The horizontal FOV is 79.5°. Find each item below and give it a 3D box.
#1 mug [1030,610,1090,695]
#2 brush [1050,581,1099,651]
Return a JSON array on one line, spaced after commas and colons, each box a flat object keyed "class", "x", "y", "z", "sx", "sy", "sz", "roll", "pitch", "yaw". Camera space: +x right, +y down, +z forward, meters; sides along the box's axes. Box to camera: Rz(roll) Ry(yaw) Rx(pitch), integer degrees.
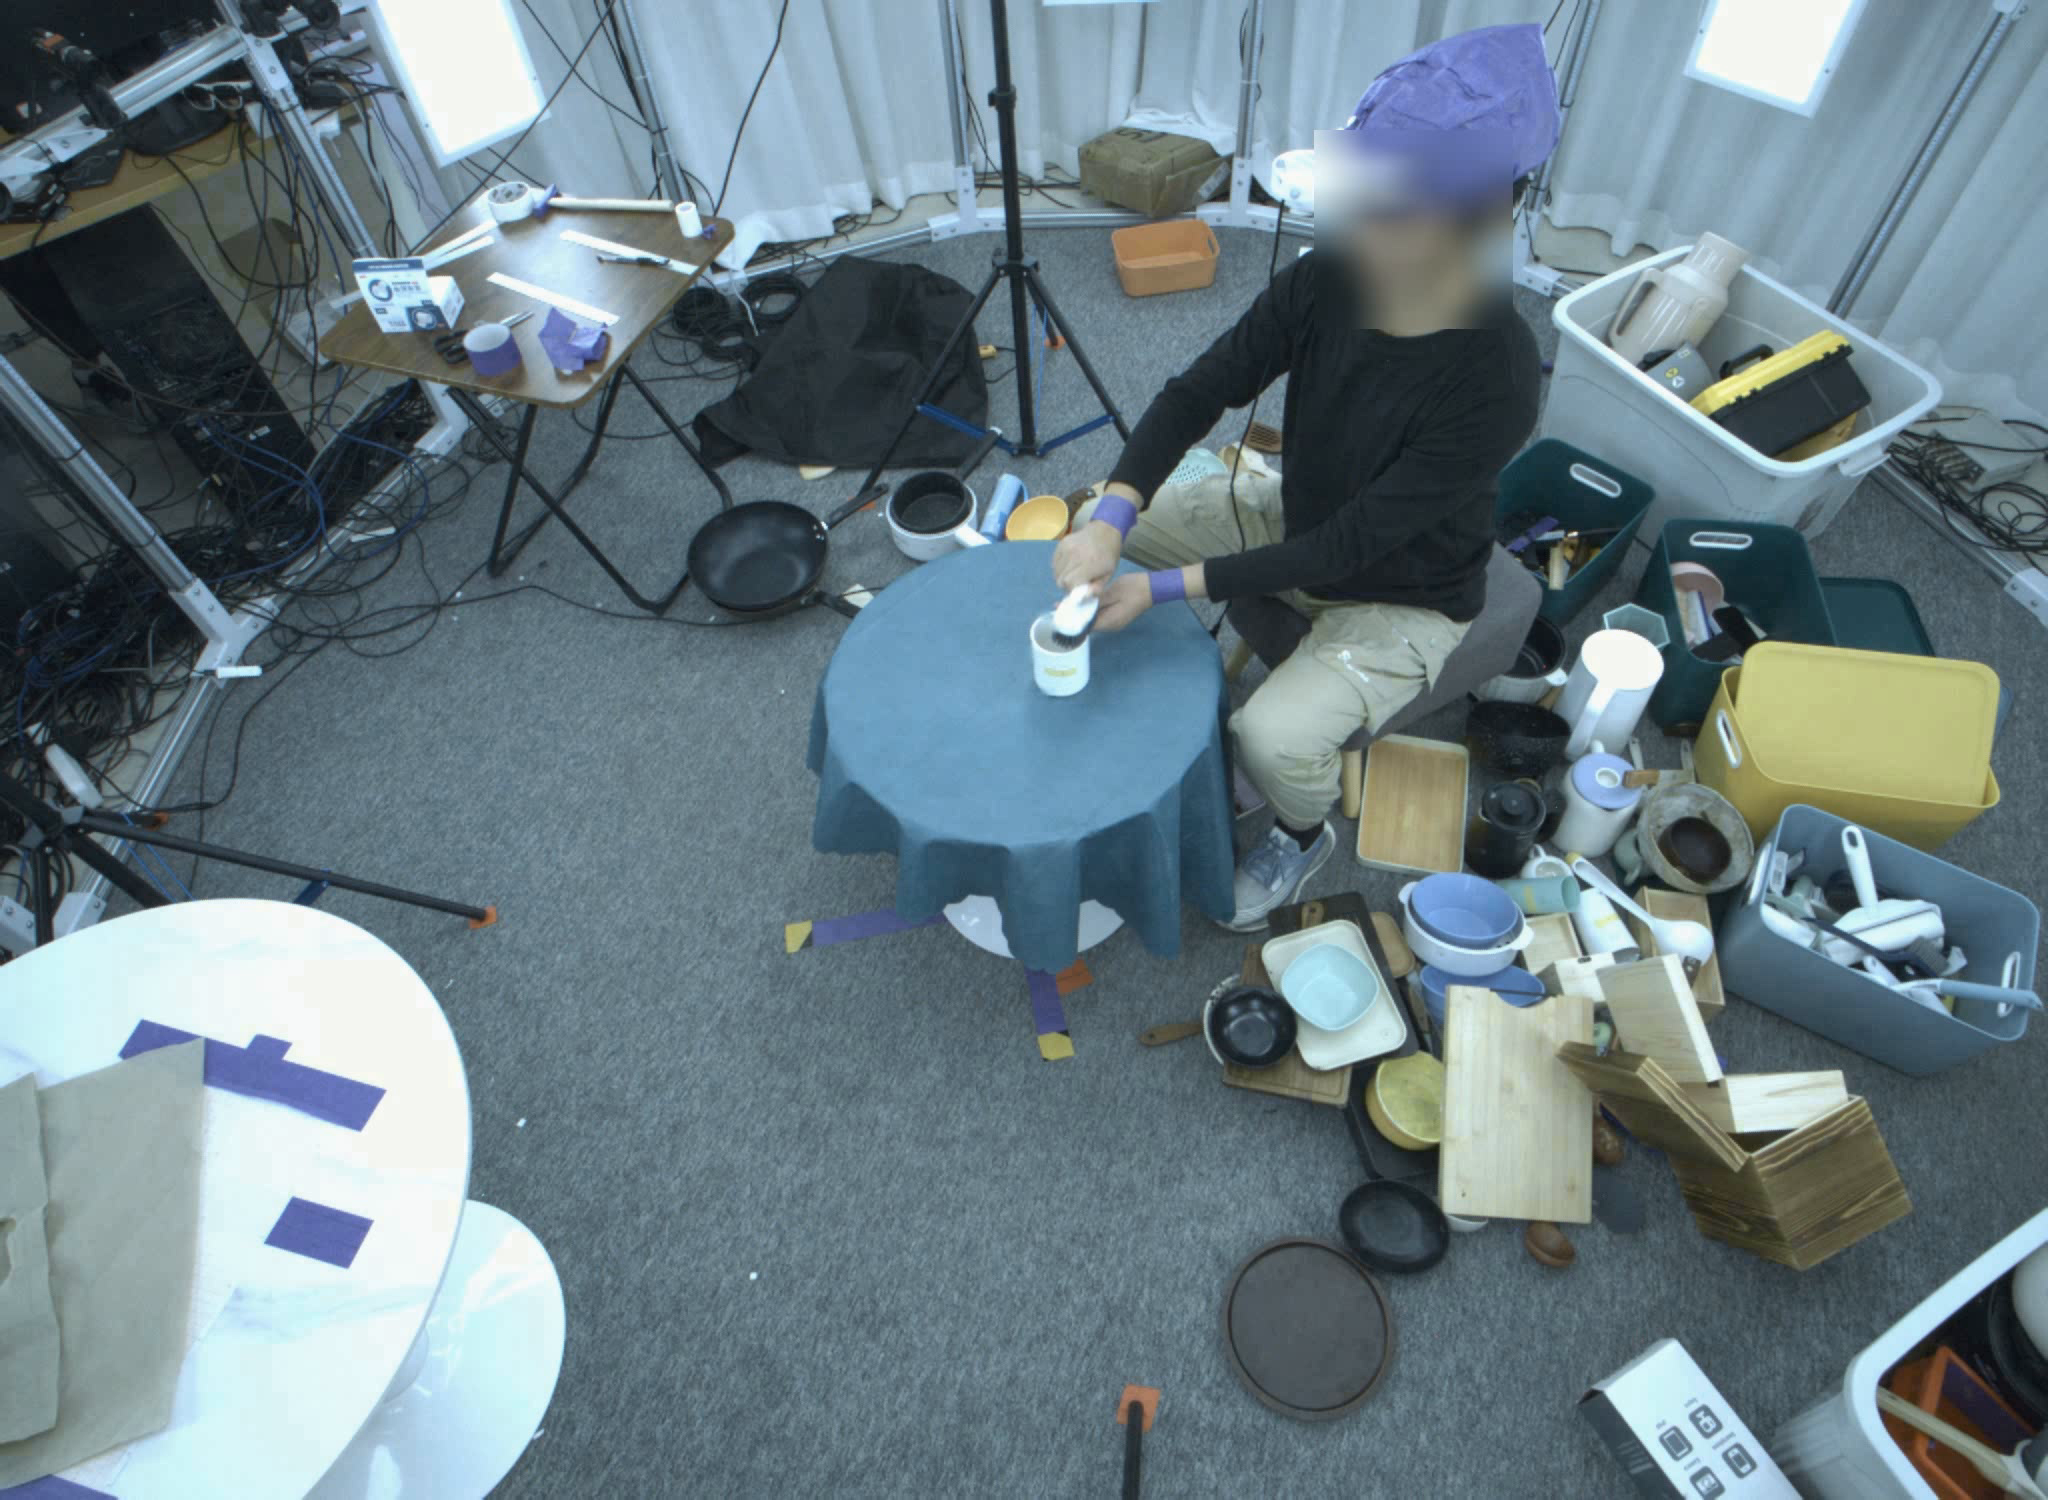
[{"class": "mug", "x": 0.061, "y": -0.155, "z": 1.833, "sx": 0.084, "sy": 0.103, "sz": 0.118, "roll": 17, "pitch": 57, "yaw": 16}, {"class": "brush", "x": 0.075, "y": -0.198, "z": 1.752, "sx": 0.050, "sy": 0.073, "sz": 0.099, "roll": 22, "pitch": 51, "yaw": 11}]
